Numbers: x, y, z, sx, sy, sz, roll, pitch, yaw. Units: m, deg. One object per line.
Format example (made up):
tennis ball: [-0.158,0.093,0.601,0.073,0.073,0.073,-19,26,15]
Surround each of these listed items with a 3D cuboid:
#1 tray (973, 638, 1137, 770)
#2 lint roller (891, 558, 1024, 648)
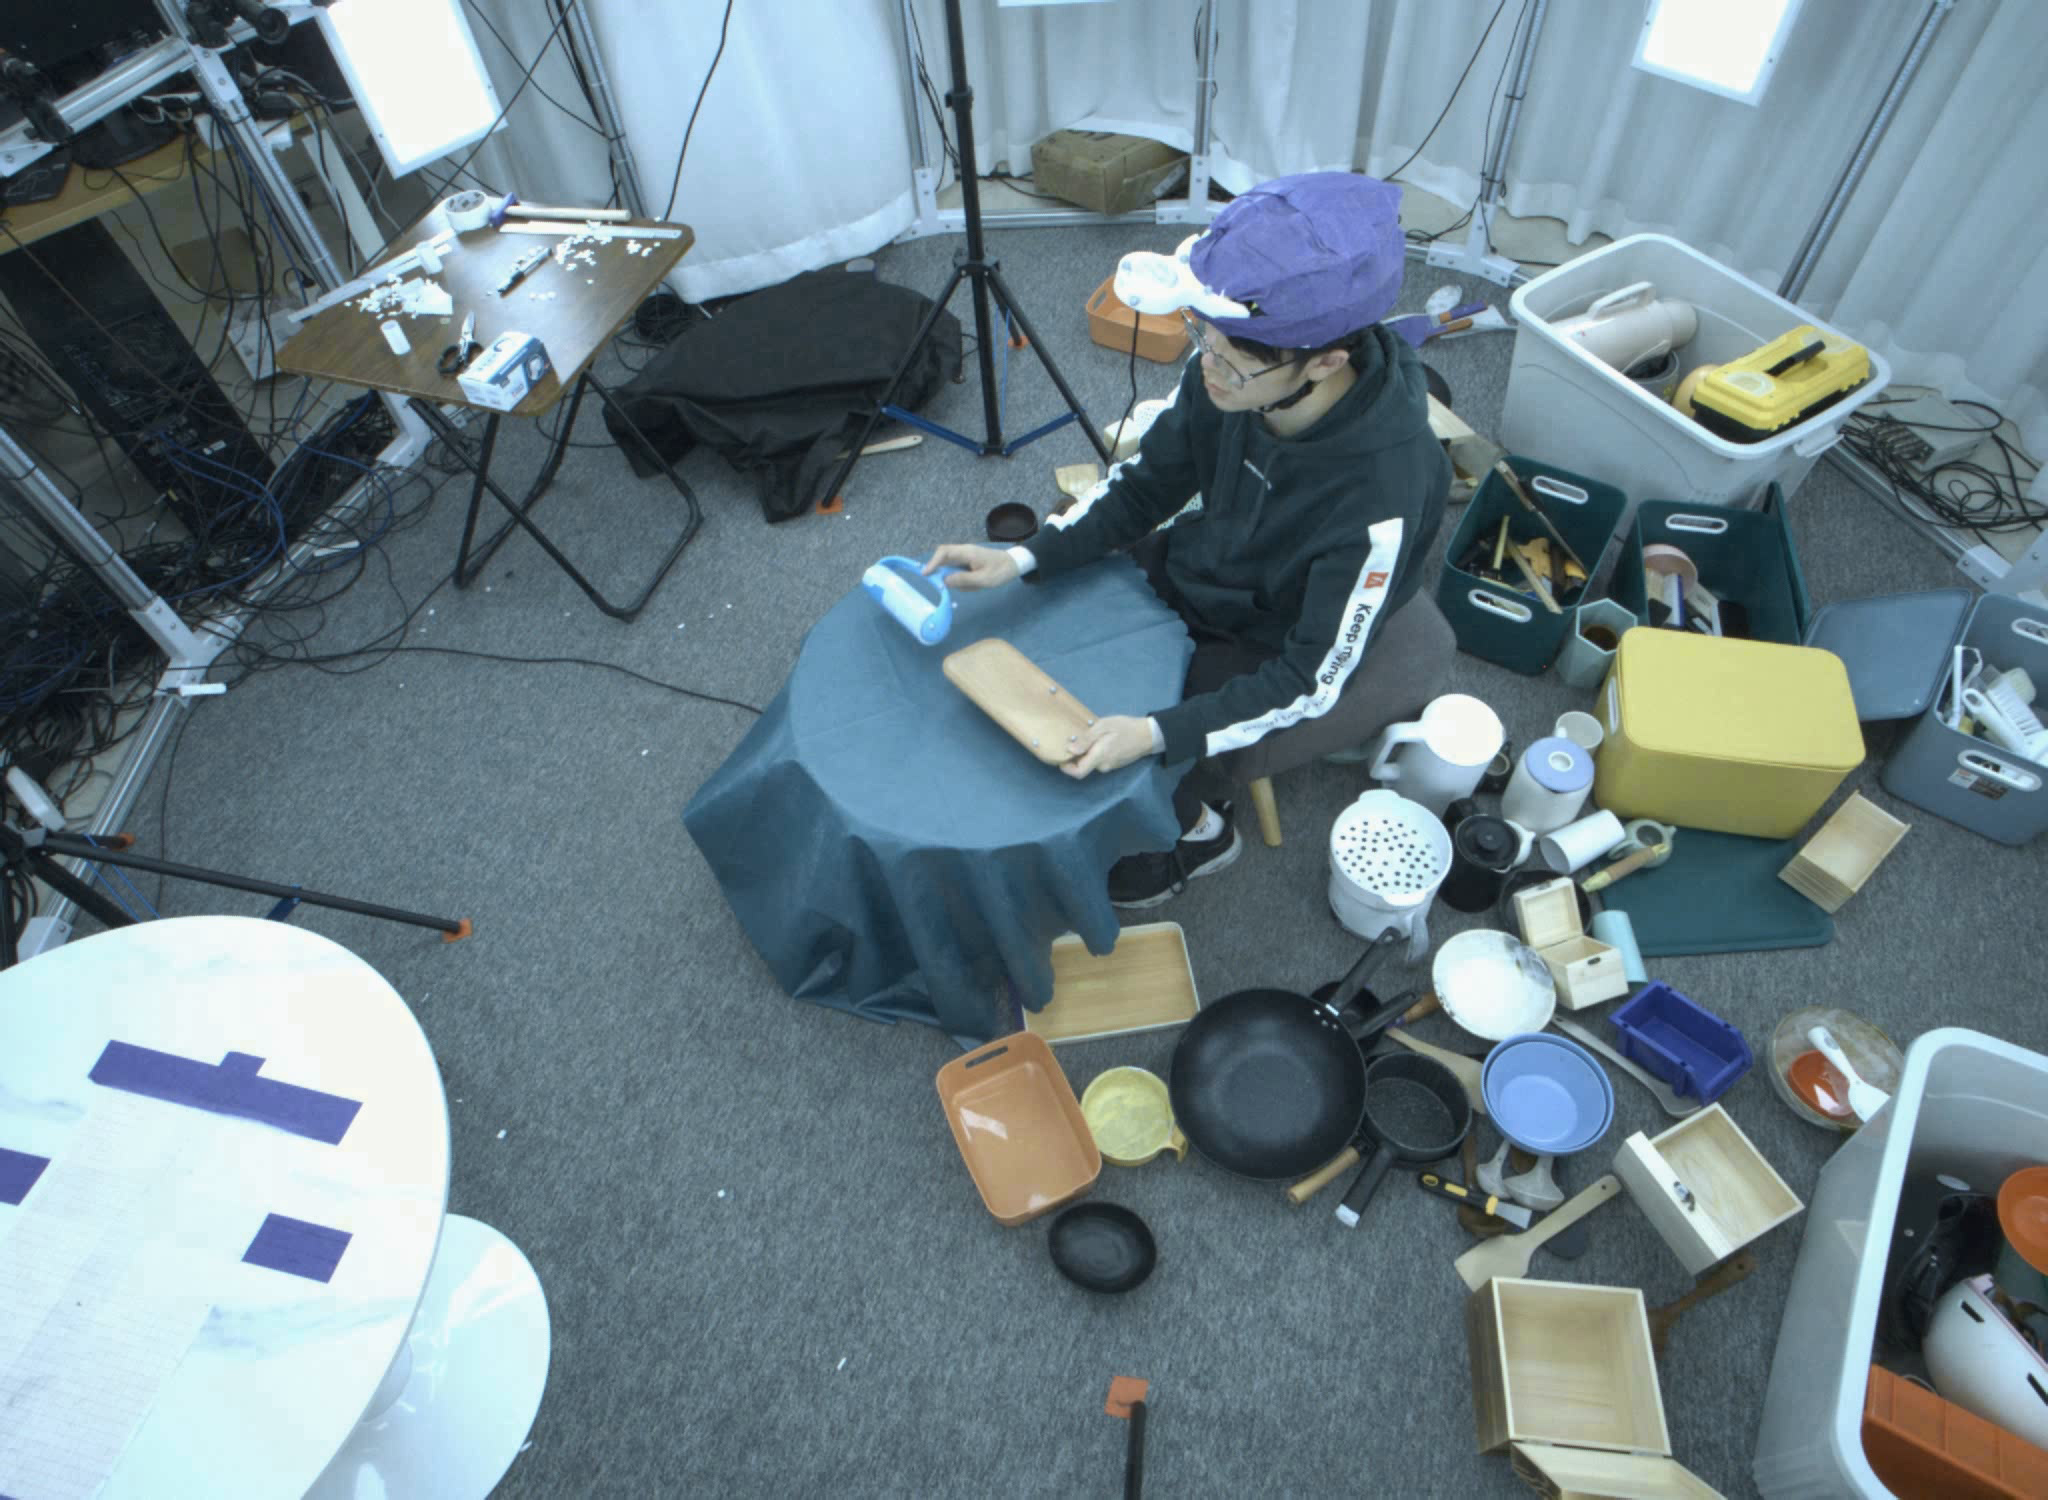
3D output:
tray: [0.042,-0.068,1.761,0.132,0.023,0.246,-25,58,-38]
lint roller: [-0.086,-0.242,1.857,0.182,0.069,0.223,-27,40,-21]
